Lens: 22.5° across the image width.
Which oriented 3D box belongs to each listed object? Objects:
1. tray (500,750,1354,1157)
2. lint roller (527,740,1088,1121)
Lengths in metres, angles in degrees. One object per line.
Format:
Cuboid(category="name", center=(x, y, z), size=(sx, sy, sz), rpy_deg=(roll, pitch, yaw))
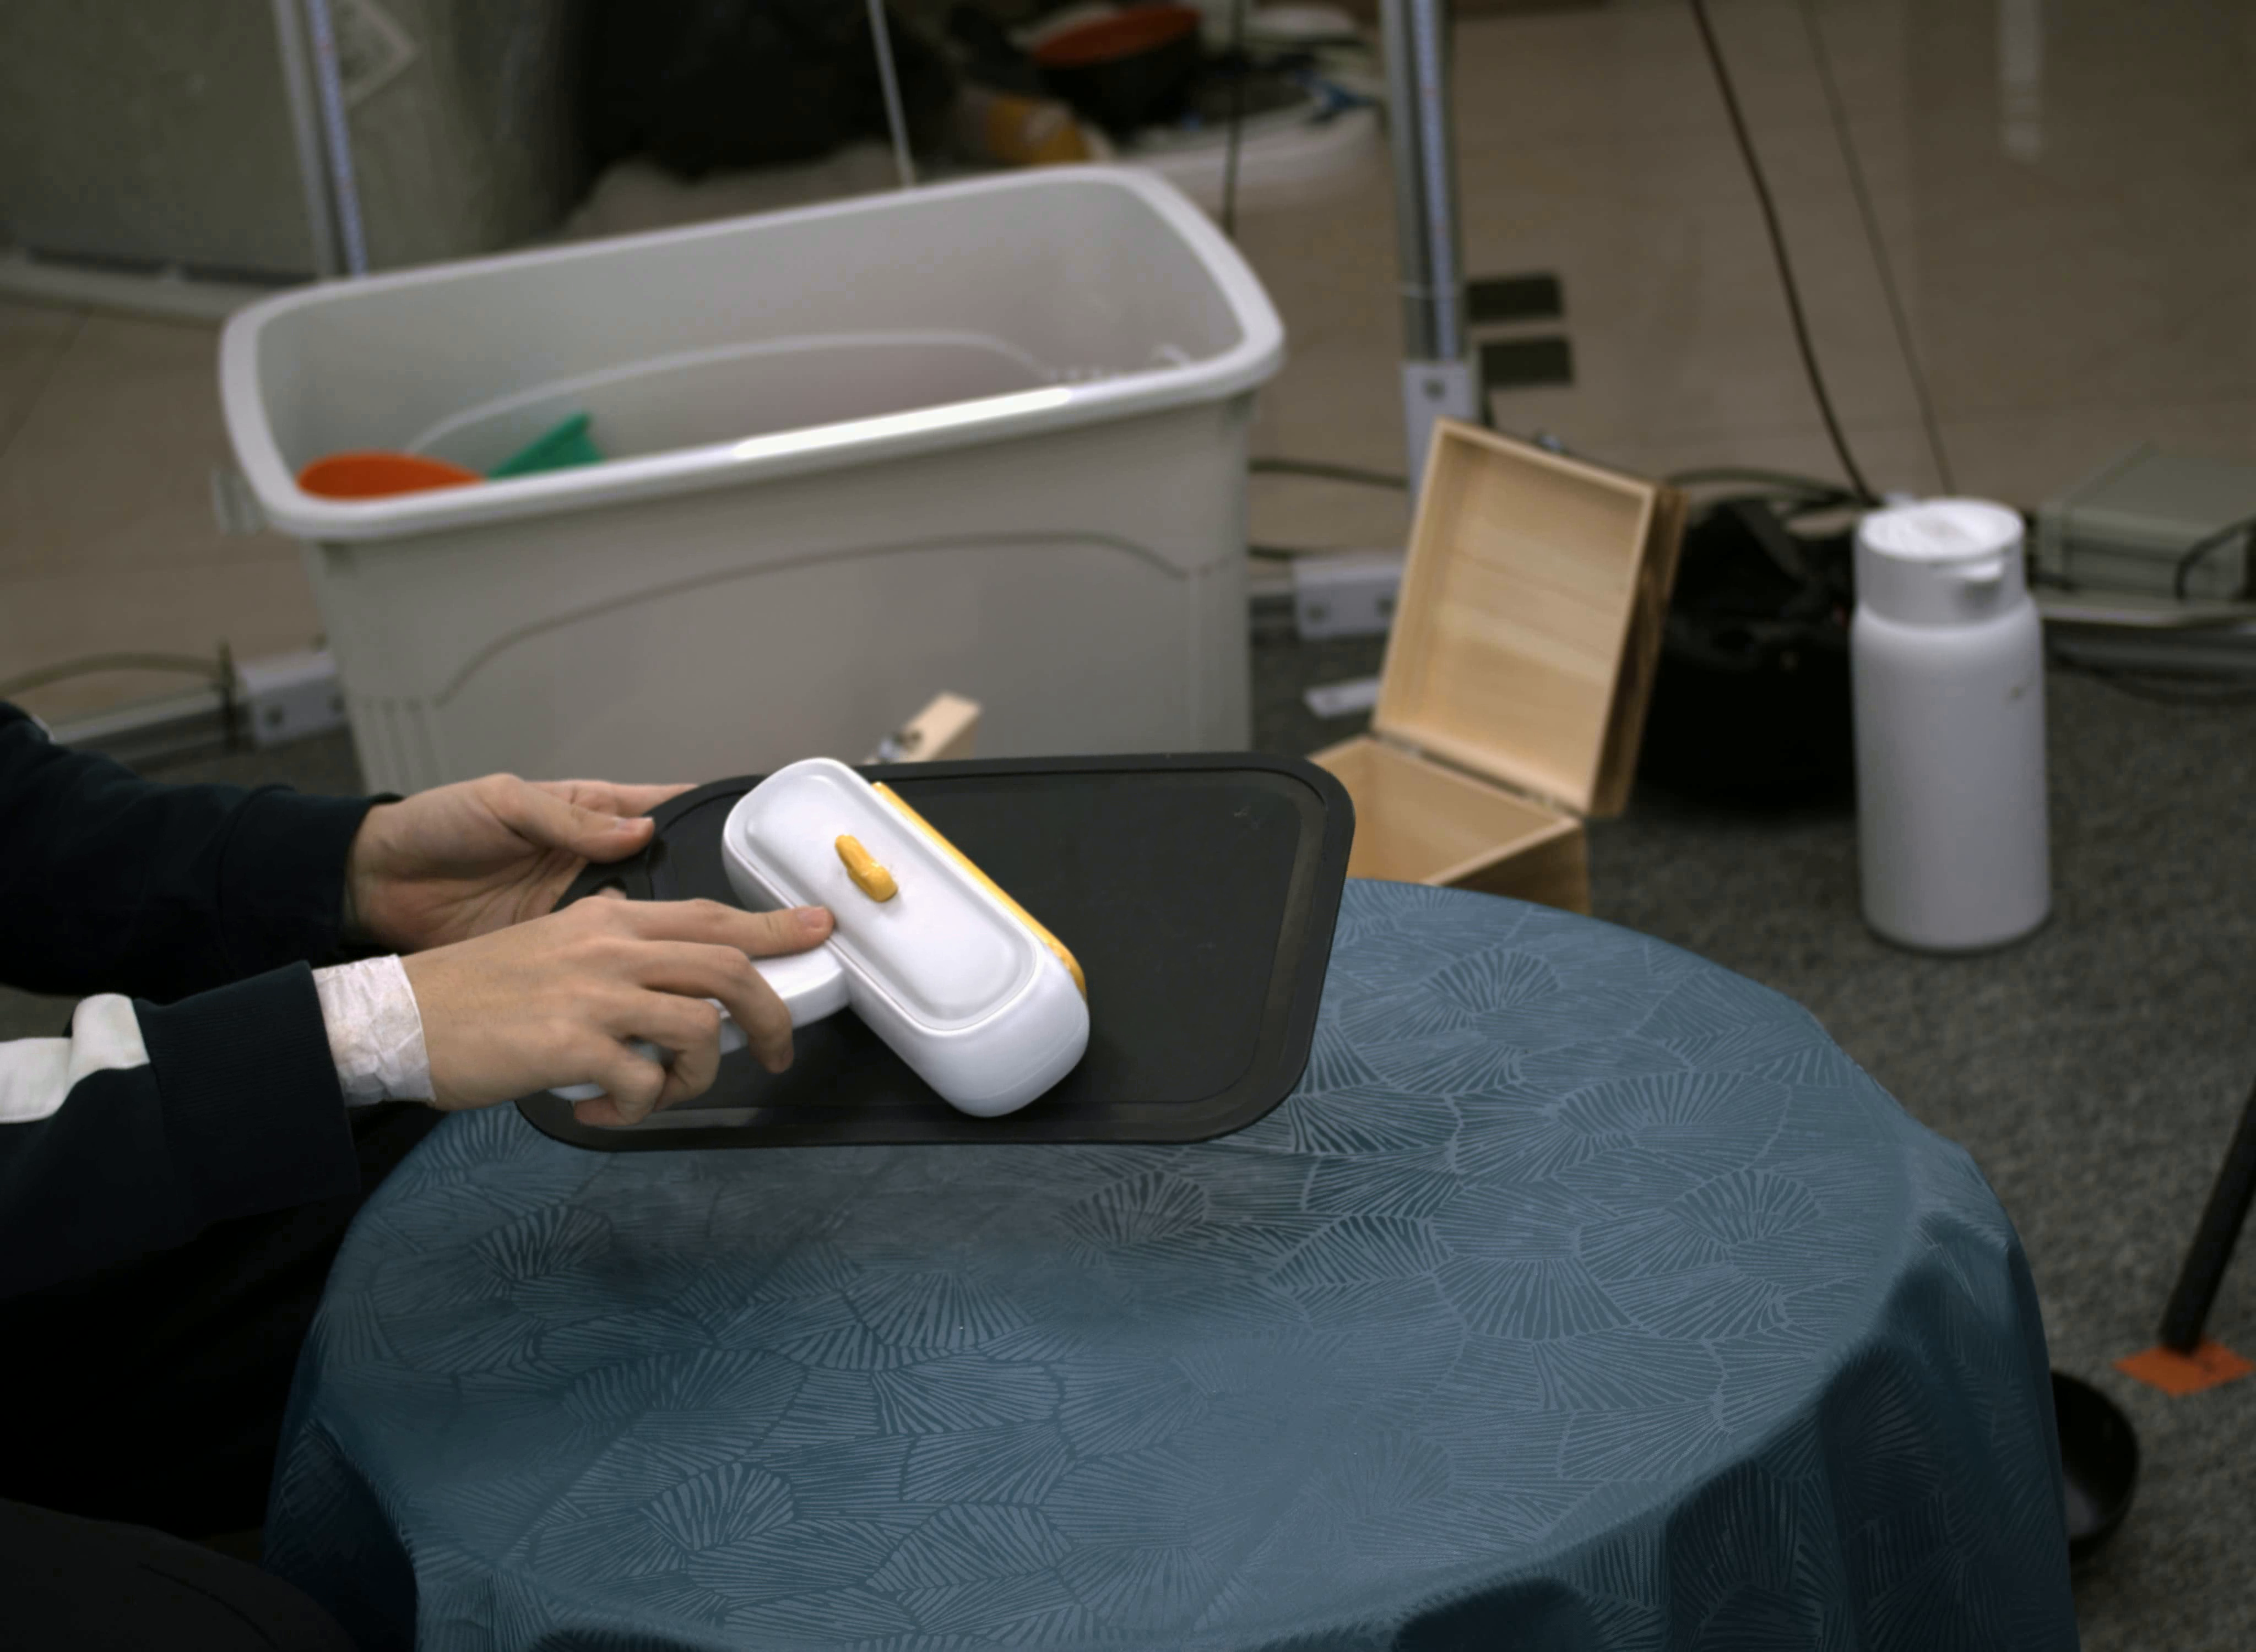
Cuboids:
Cuboid(category="tray", center=(-0.081, 0.046, 2.146), size=(0.325, 0.010, 0.207), rpy_deg=(-2, 44, 15))
Cuboid(category="lint roller", center=(-0.135, 0.059, 2.095), size=(0.191, 0.075, 0.190), rpy_deg=(-34, 50, -20))
